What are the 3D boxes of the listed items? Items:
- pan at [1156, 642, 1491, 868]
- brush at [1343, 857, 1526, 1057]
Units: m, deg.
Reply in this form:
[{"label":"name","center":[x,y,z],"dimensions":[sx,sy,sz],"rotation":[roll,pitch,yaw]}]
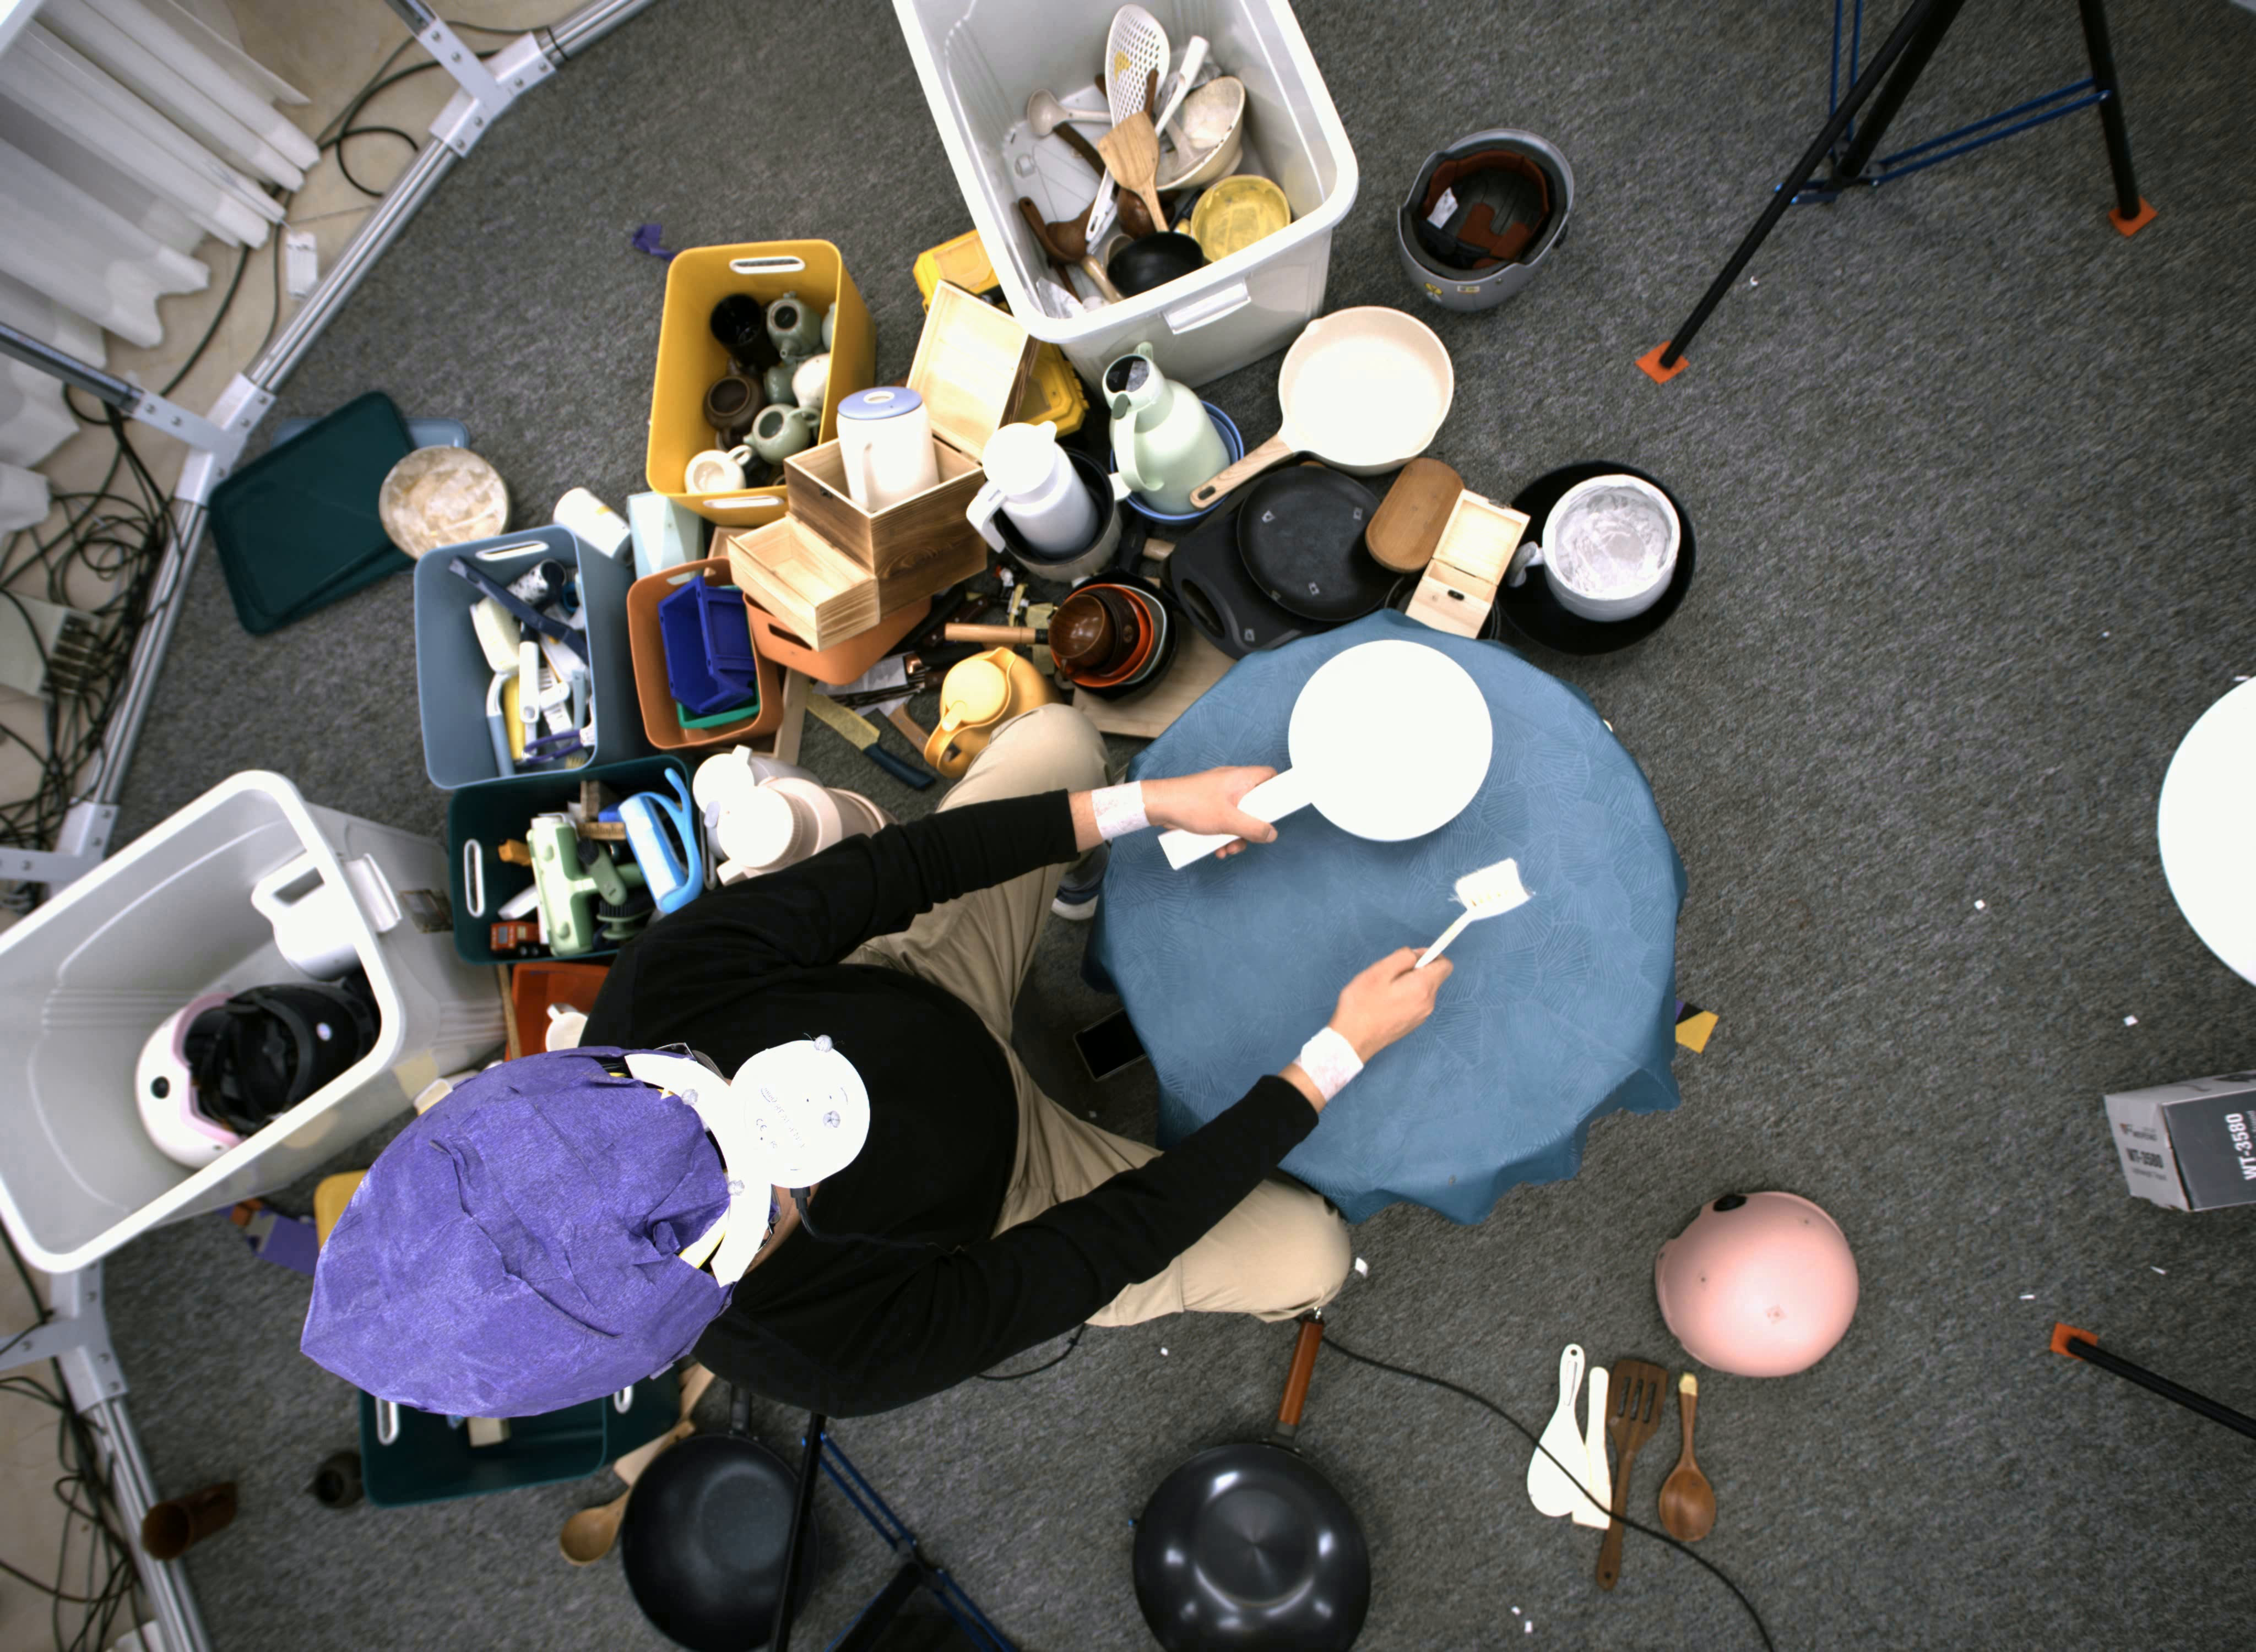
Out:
[{"label":"pan","center":[0.200,-0.049,1.432],"dimensions":[0.357,0.102,0.200],"rotation":[-27,83,9]},{"label":"brush","center":[0.283,0.124,1.355],"dimensions":[0.055,0.068,0.272],"rotation":[54,124,25]}]
